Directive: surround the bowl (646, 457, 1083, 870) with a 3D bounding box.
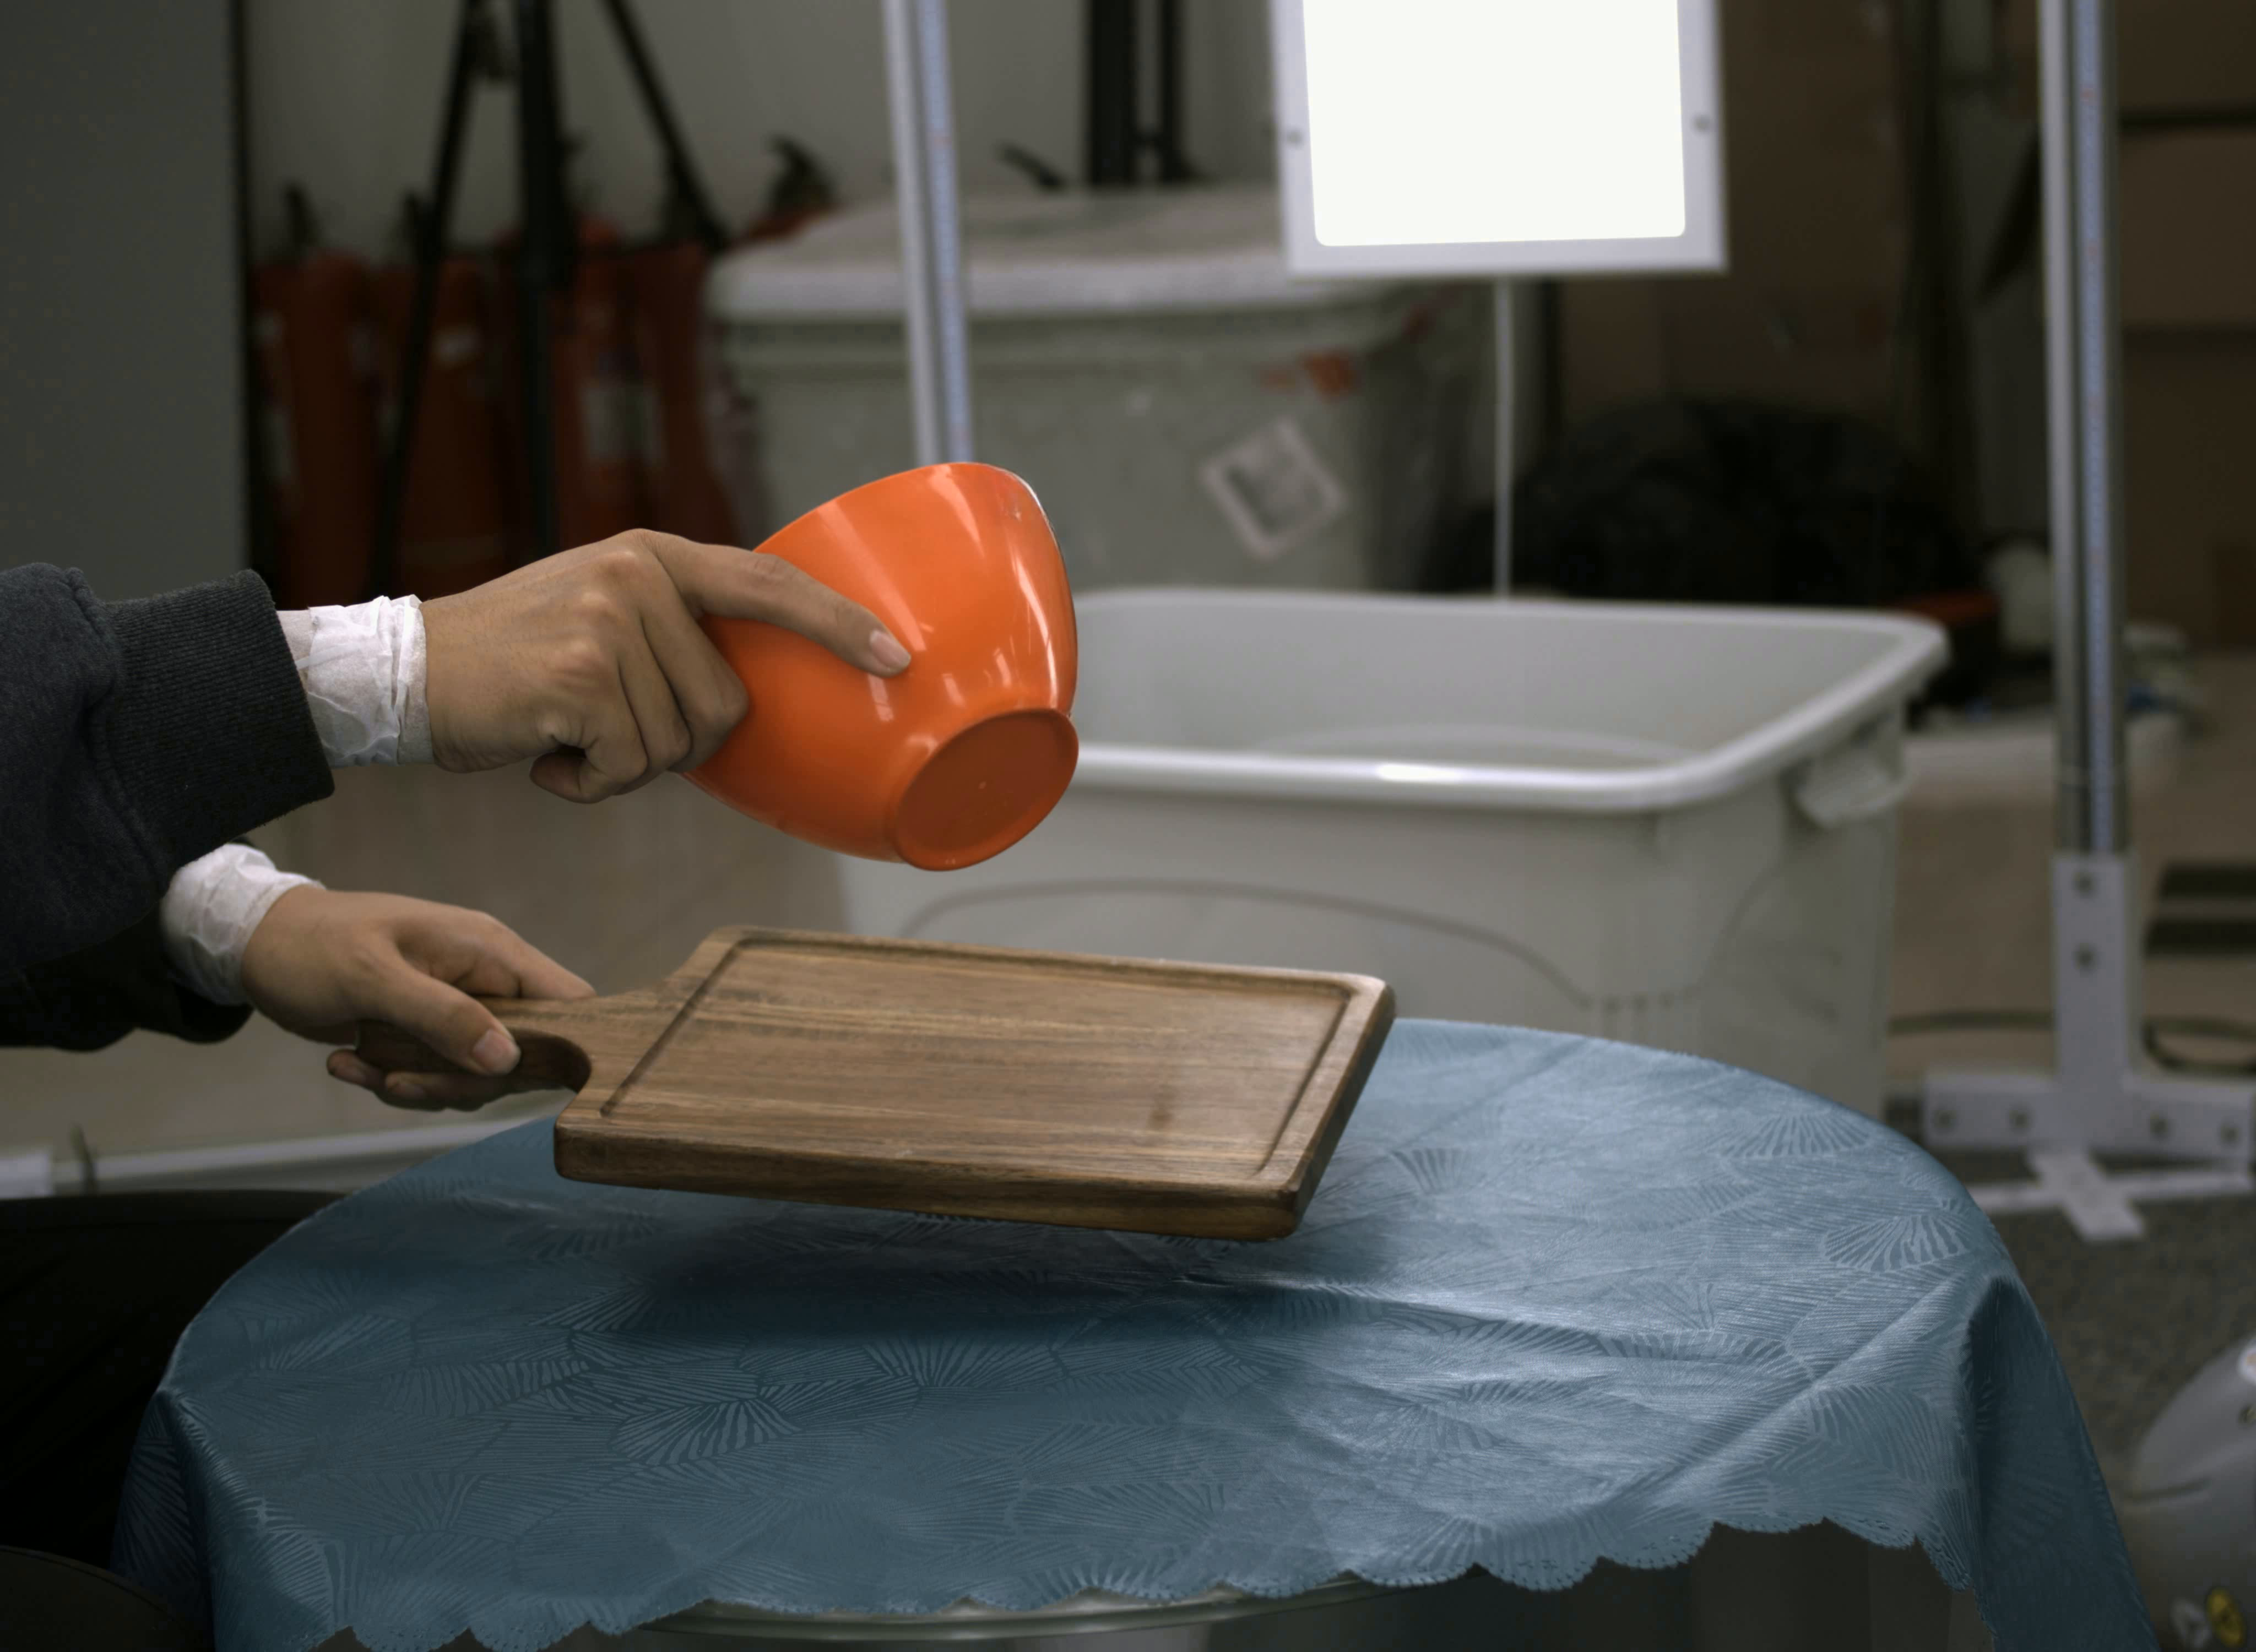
[{"bbox_3d":[-0.067,-0.038,1.718,0.144,0.150,0.106,-13,50,-31],"label":"bowl"}]

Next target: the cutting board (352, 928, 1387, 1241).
[{"bbox_3d":[-0.097,0.081,1.883,0.355,0.023,0.198,4,20,14],"label":"cutting board"}]
